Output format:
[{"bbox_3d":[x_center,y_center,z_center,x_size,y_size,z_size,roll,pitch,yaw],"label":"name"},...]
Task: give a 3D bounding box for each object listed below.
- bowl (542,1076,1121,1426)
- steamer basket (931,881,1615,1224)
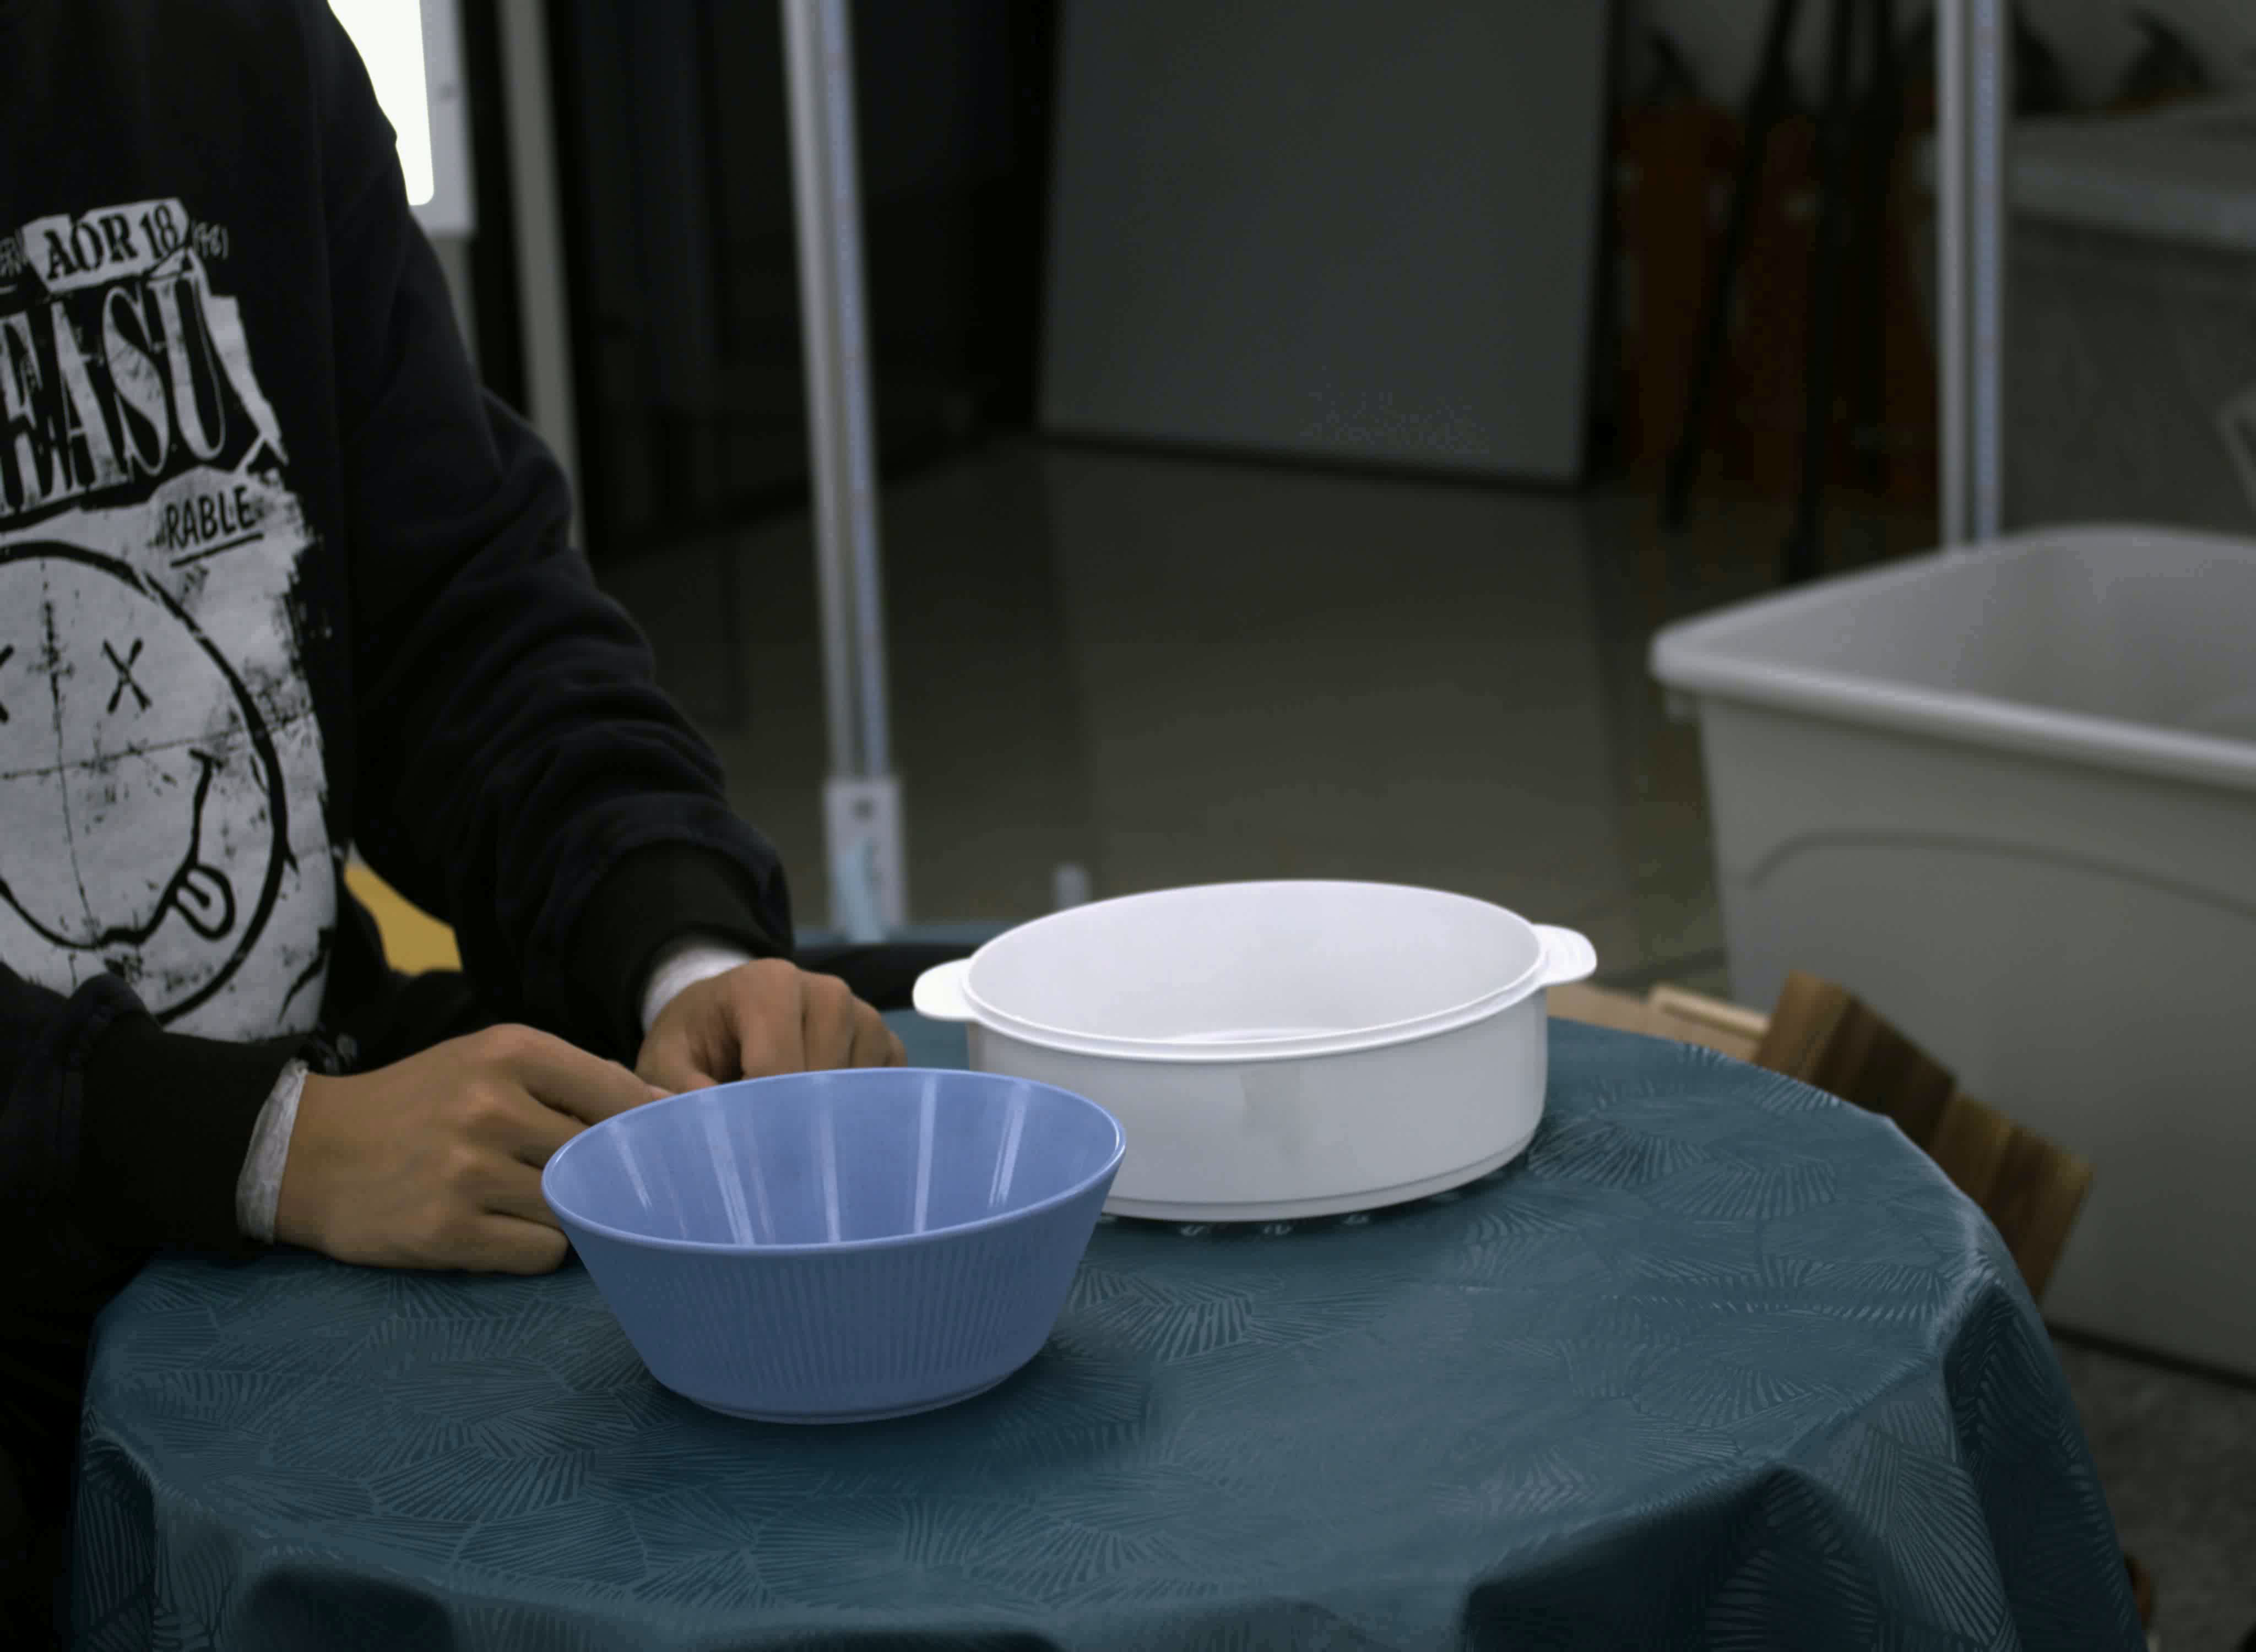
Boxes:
[{"bbox_3d":[-0.086,0.129,1.616,0.174,0.071,0.176,-4,13,0],"label":"bowl"},{"bbox_3d":[0.049,0.075,1.799,0.227,0.070,0.202,-2,14,0],"label":"steamer basket"}]
